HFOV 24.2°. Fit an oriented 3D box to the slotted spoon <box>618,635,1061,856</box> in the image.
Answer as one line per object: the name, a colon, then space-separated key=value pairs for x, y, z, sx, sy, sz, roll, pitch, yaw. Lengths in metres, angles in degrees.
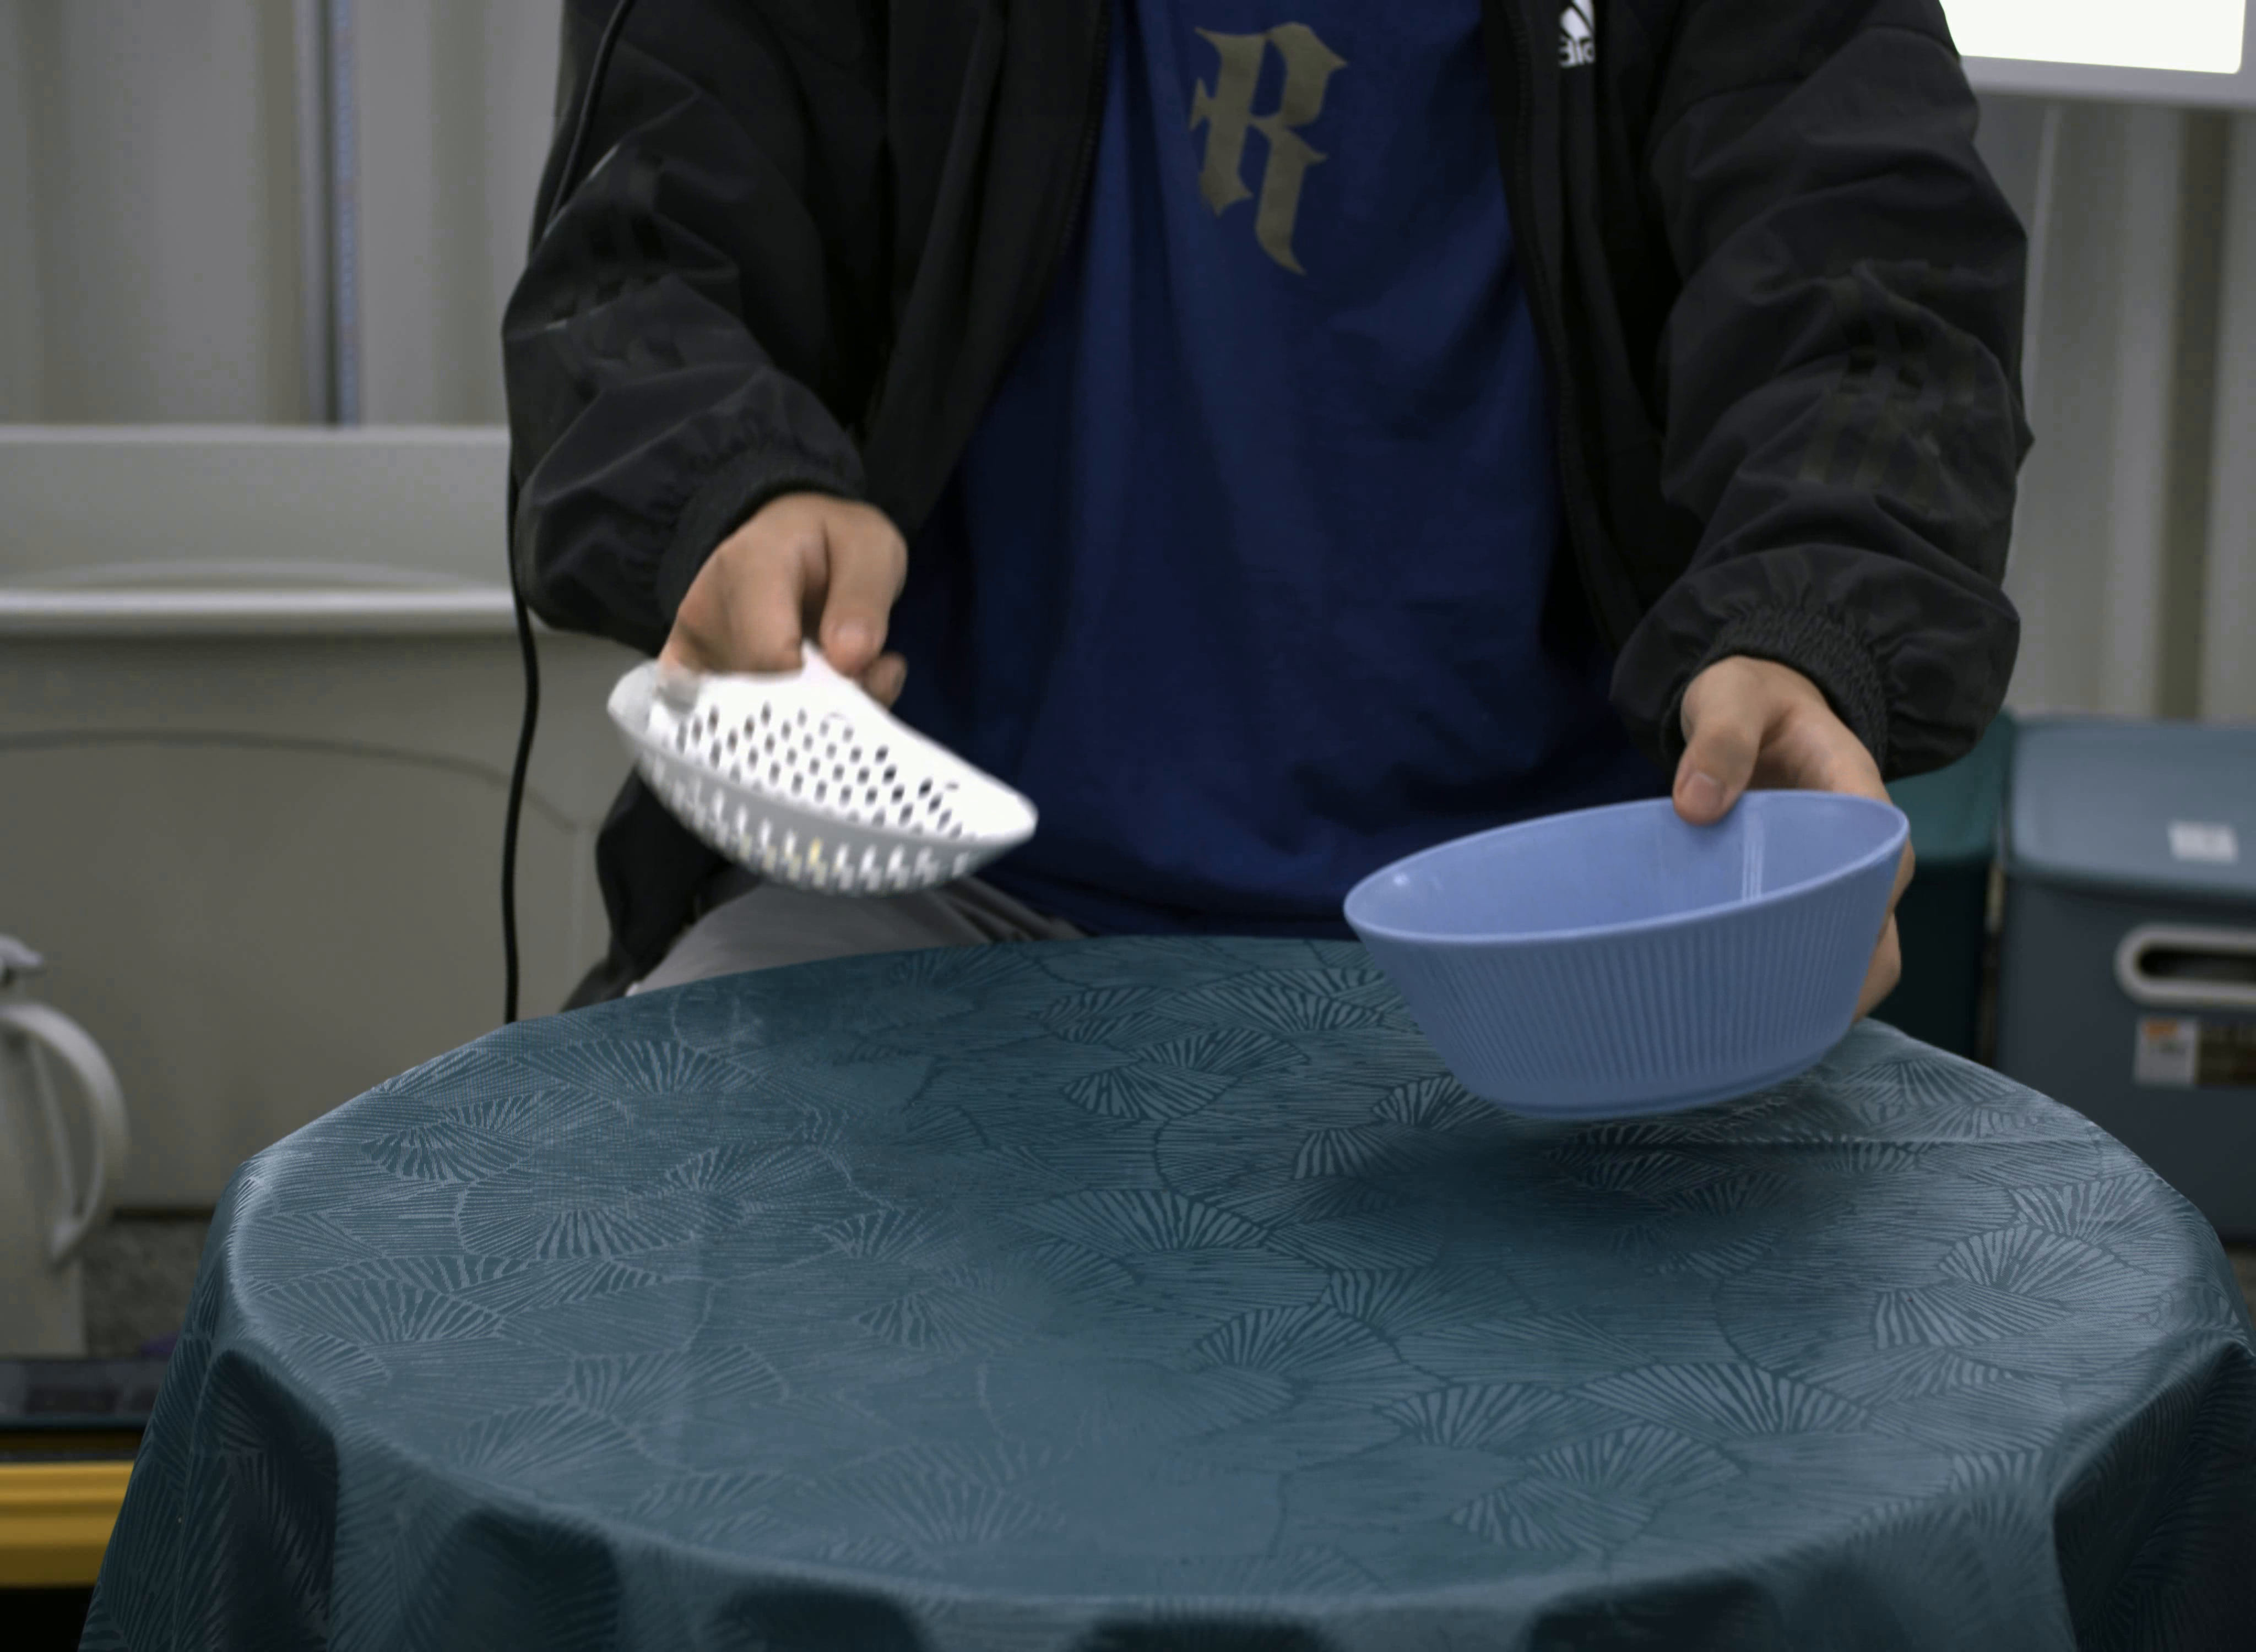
slotted spoon: x=-0.098 y=-0.037 z=1.680 sx=0.137 sy=0.050 sz=0.346 roll=15 pitch=11 yaw=-7

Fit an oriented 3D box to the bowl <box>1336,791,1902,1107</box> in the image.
bowl: x=0.155 y=0.040 z=1.628 sx=0.175 sy=0.071 sz=0.175 roll=-9 pitch=10 yaw=2
